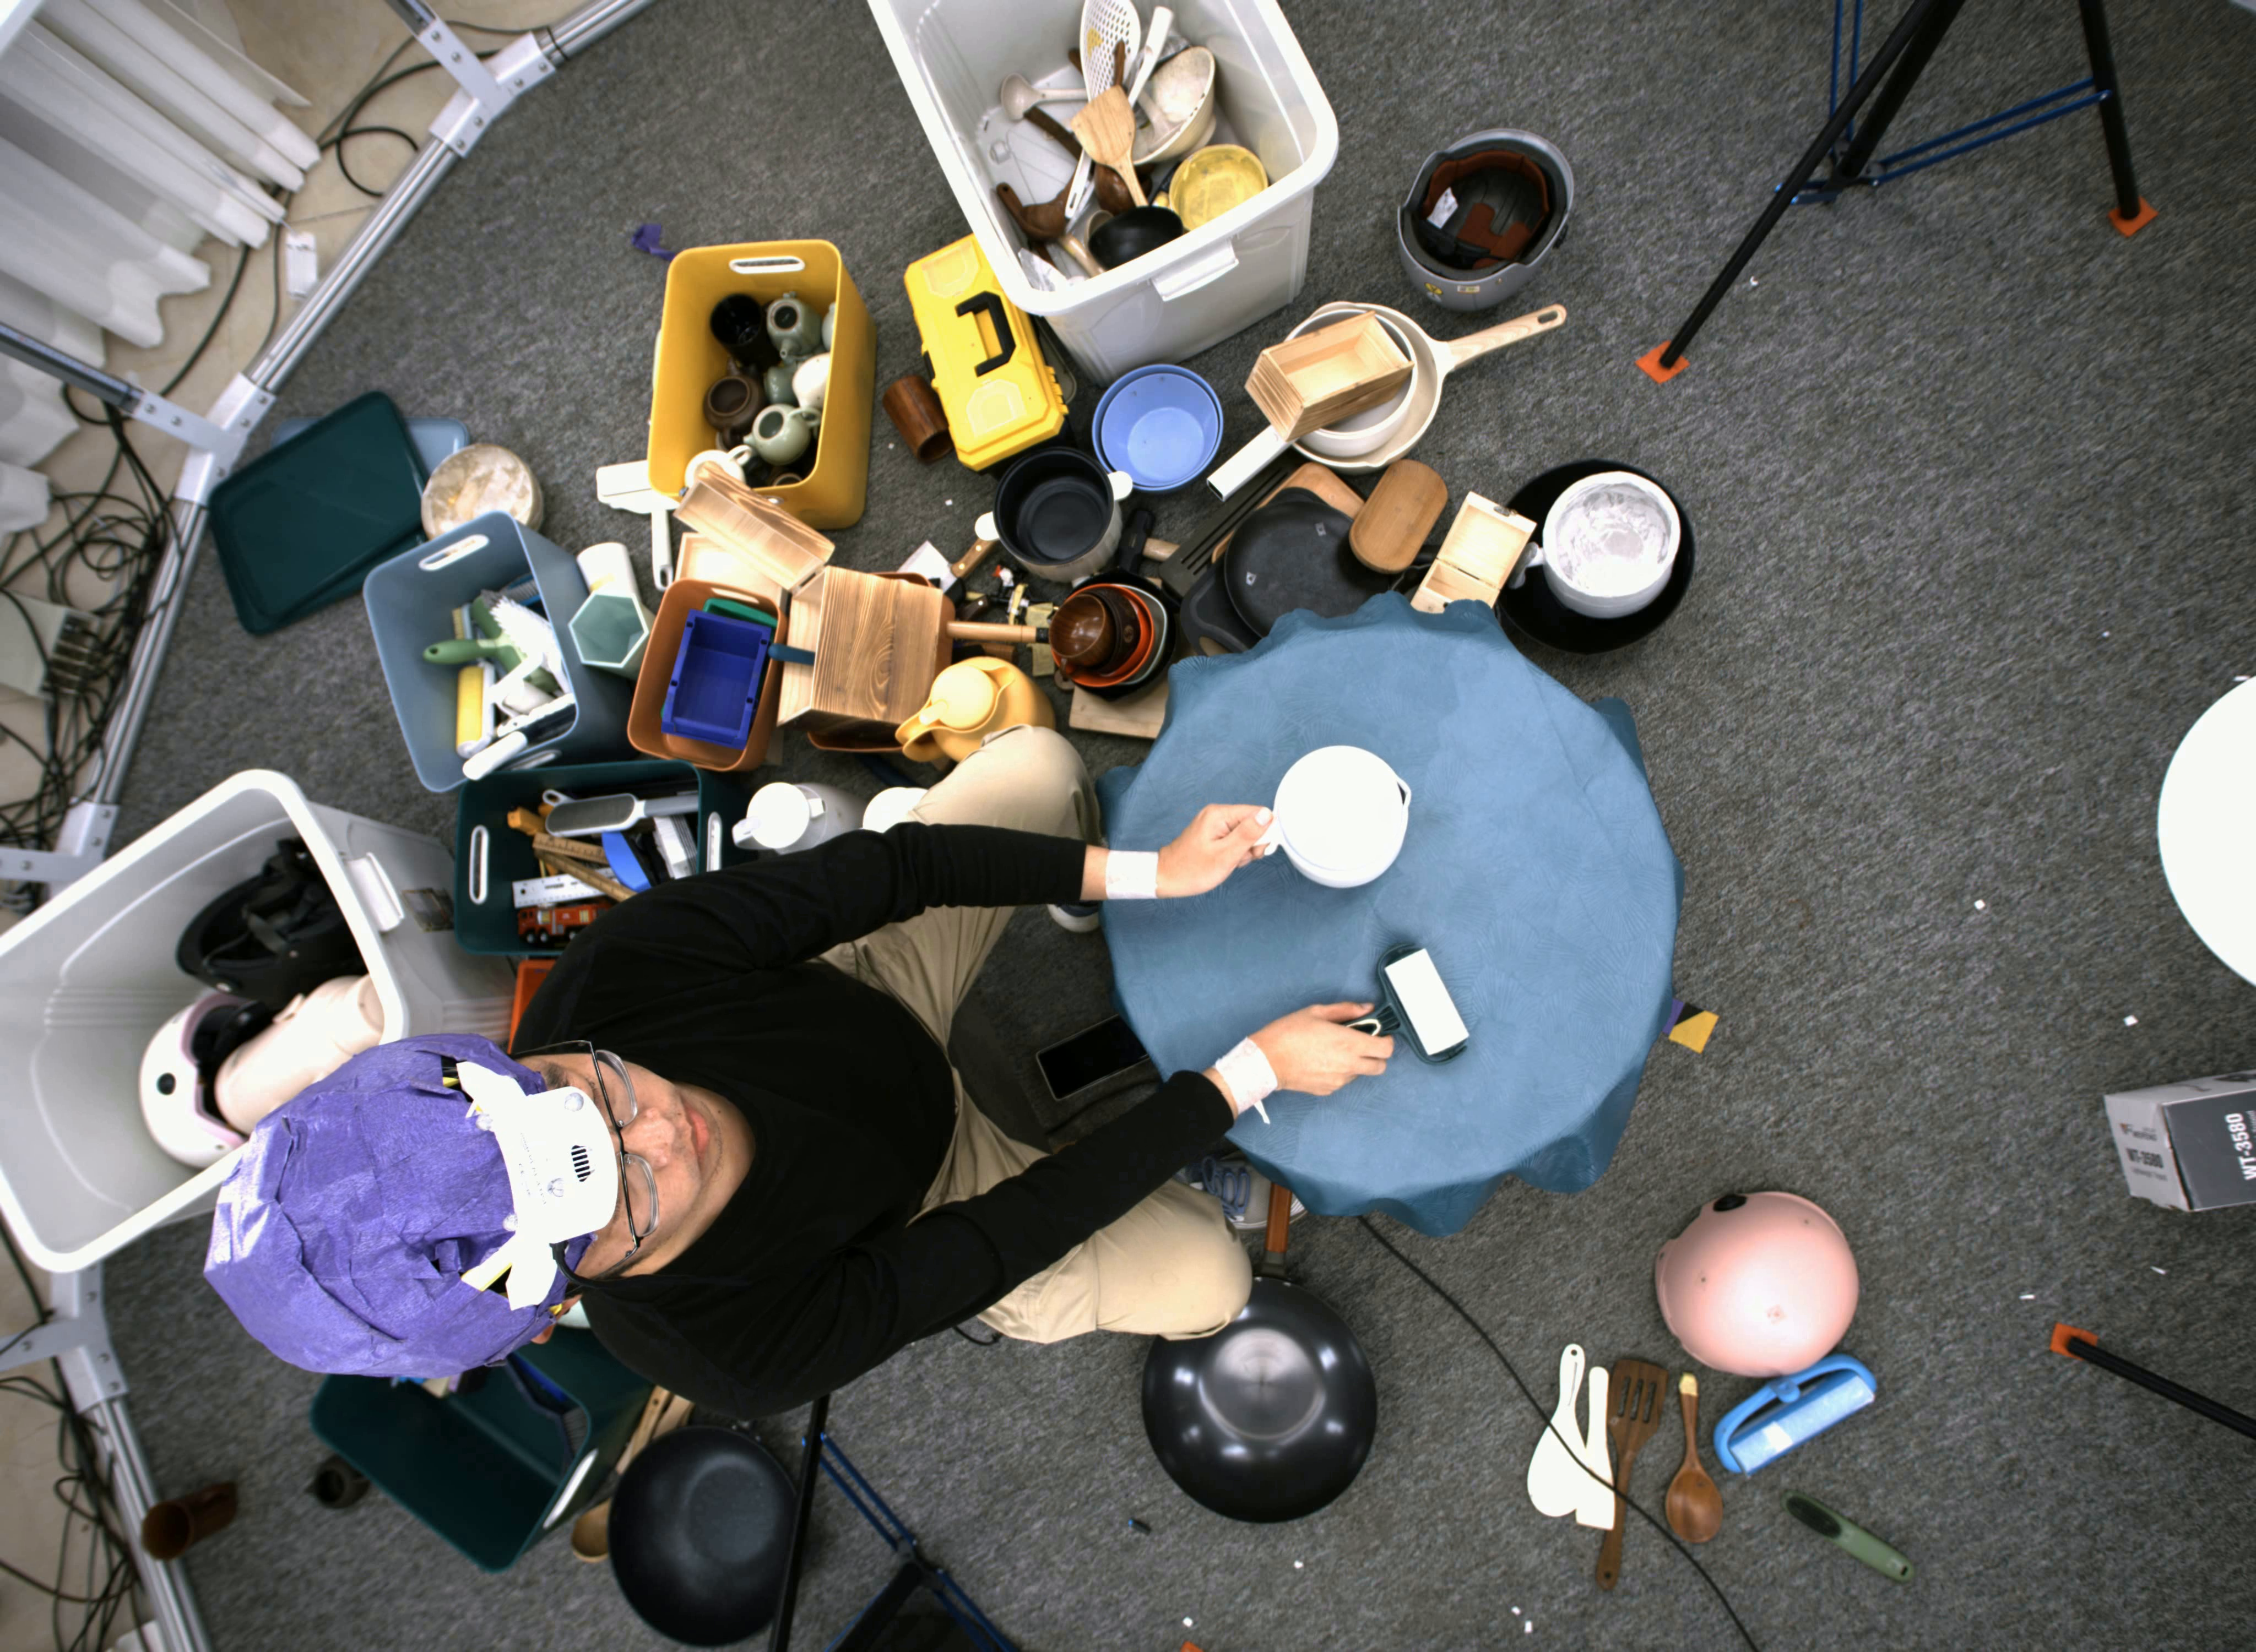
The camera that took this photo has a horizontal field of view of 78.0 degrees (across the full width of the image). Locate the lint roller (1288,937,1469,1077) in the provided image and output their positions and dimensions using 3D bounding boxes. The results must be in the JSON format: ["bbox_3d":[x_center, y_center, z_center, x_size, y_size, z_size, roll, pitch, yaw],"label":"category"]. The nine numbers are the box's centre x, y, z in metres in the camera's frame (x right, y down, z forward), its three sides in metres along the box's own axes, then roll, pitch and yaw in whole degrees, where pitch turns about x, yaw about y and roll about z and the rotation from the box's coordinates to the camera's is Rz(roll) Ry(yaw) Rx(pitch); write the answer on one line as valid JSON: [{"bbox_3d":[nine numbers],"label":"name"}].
[{"bbox_3d":[0.247,0.210,1.425,0.180,0.048,0.133,-26,82,3],"label":"lint roller"}]

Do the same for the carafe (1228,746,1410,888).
[{"bbox_3d":[0.191,-0.002,1.392,0.192,0.182,0.131,-16,82,11],"label":"carafe"}]
